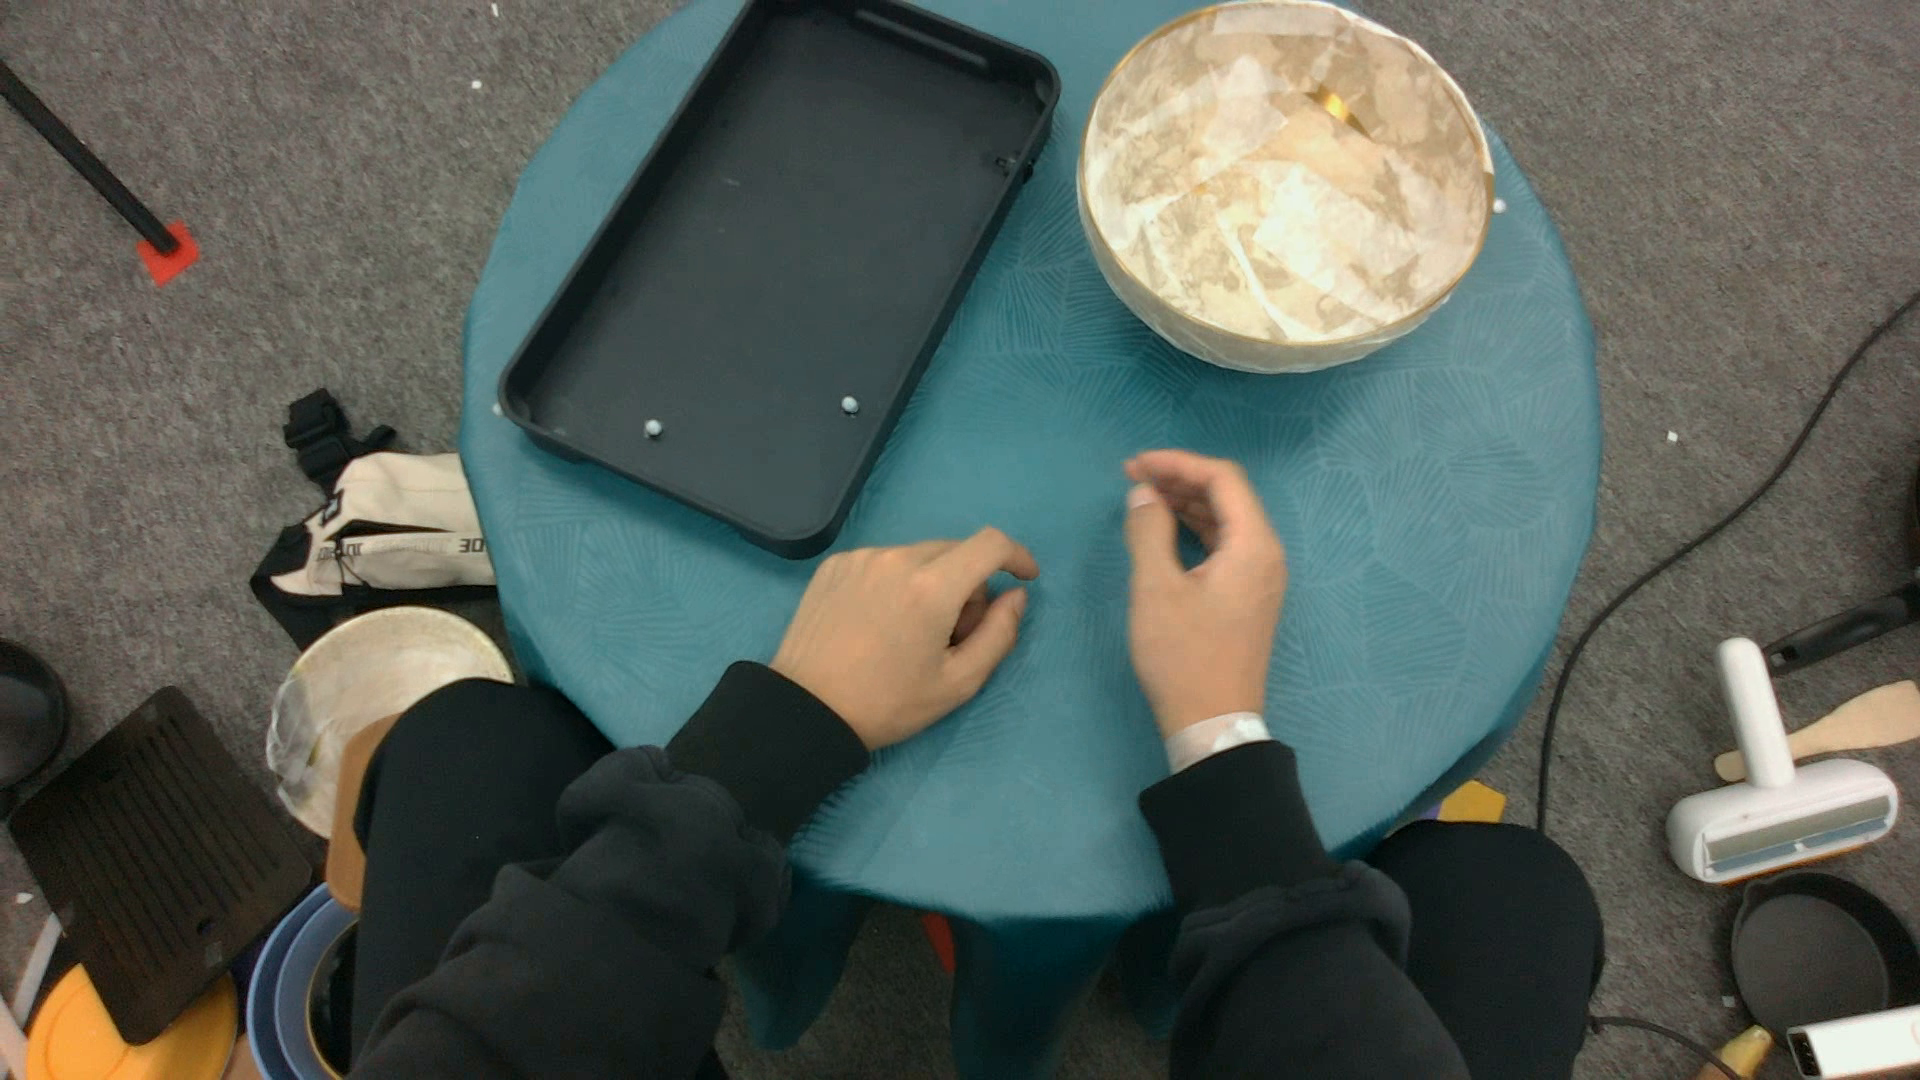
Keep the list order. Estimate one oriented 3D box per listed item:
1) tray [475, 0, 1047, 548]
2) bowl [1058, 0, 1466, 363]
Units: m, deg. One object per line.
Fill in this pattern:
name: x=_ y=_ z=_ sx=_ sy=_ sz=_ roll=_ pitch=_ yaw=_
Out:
tray: x=-0.096 y=-0.161 z=0.735 sx=0.184 sy=0.037 sz=0.319 roll=25 pitch=68 yaw=8
bowl: x=0.144 y=-0.171 z=0.715 sx=0.215 sy=0.094 sz=0.215 roll=1 pitch=69 yaw=-3
